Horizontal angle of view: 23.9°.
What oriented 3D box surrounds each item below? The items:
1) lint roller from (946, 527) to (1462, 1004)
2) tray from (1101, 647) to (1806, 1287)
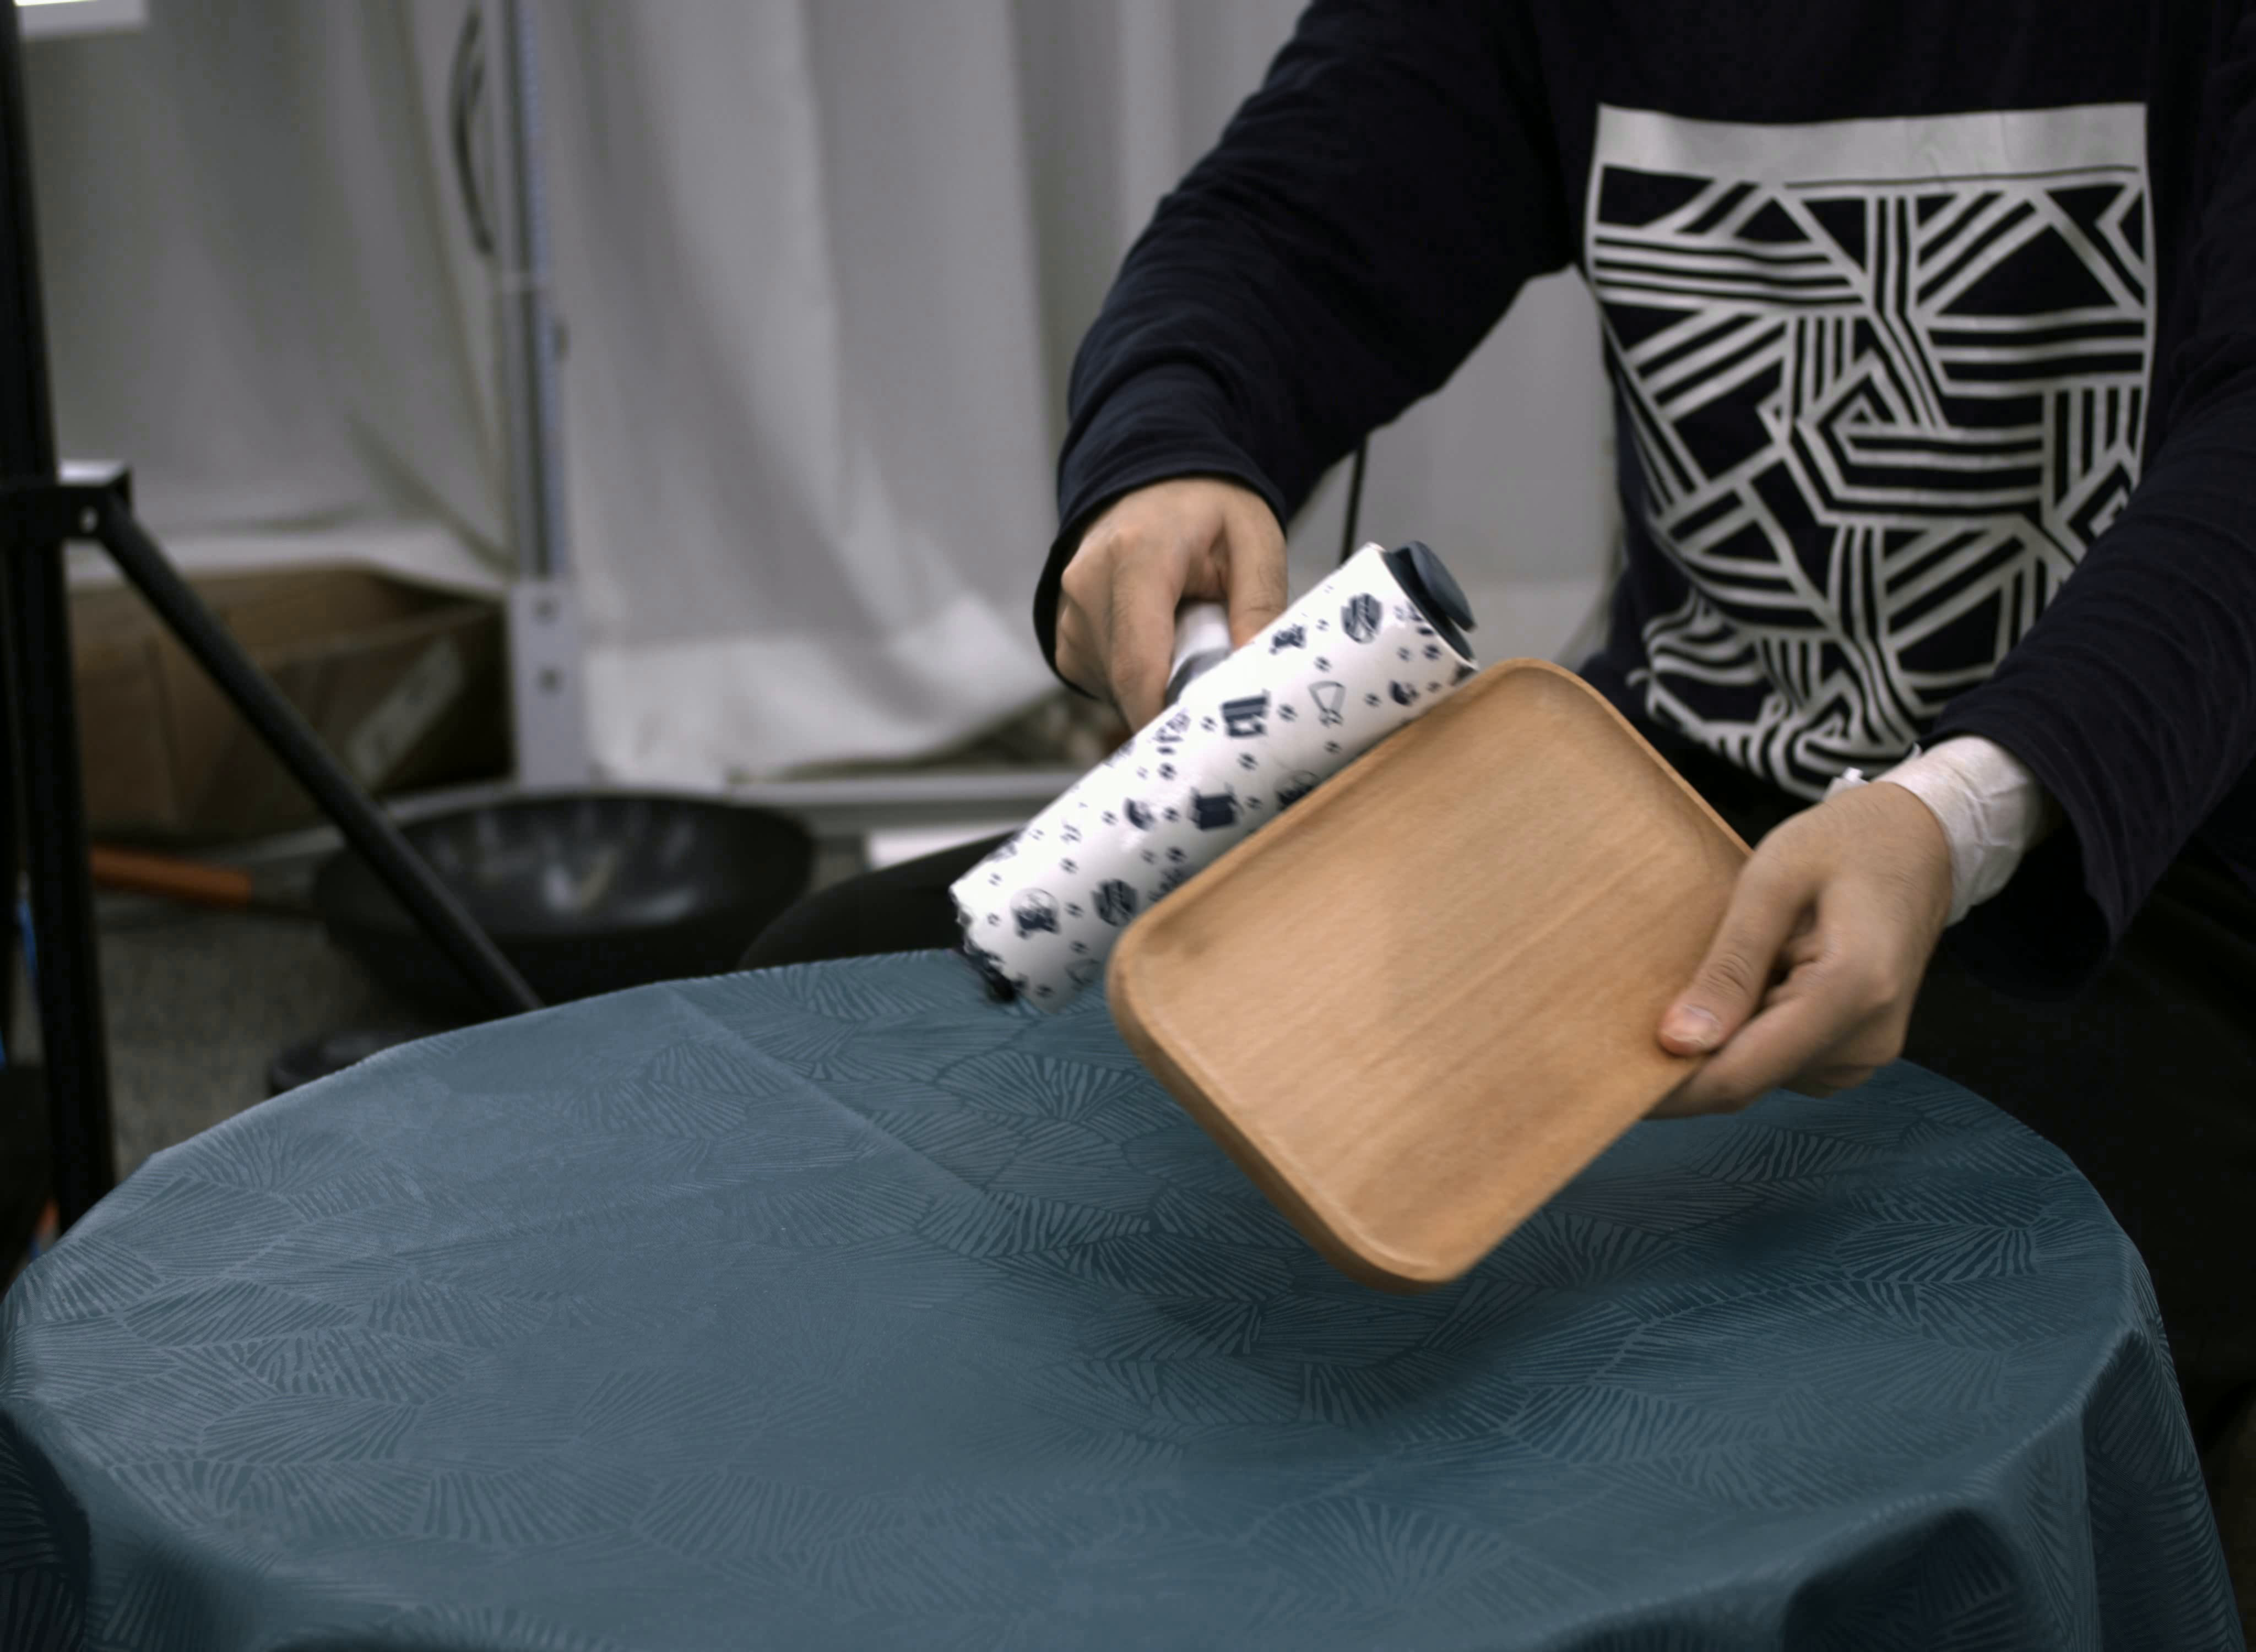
[{"bbox_3d":[0.023,-0.040,1.620,0.177,0.050,0.247,-40,10,10],"label":"lint roller"},{"bbox_3d":[0.093,0.036,1.463,0.246,0.131,0.023,-31,-12,-49],"label":"tray"}]
